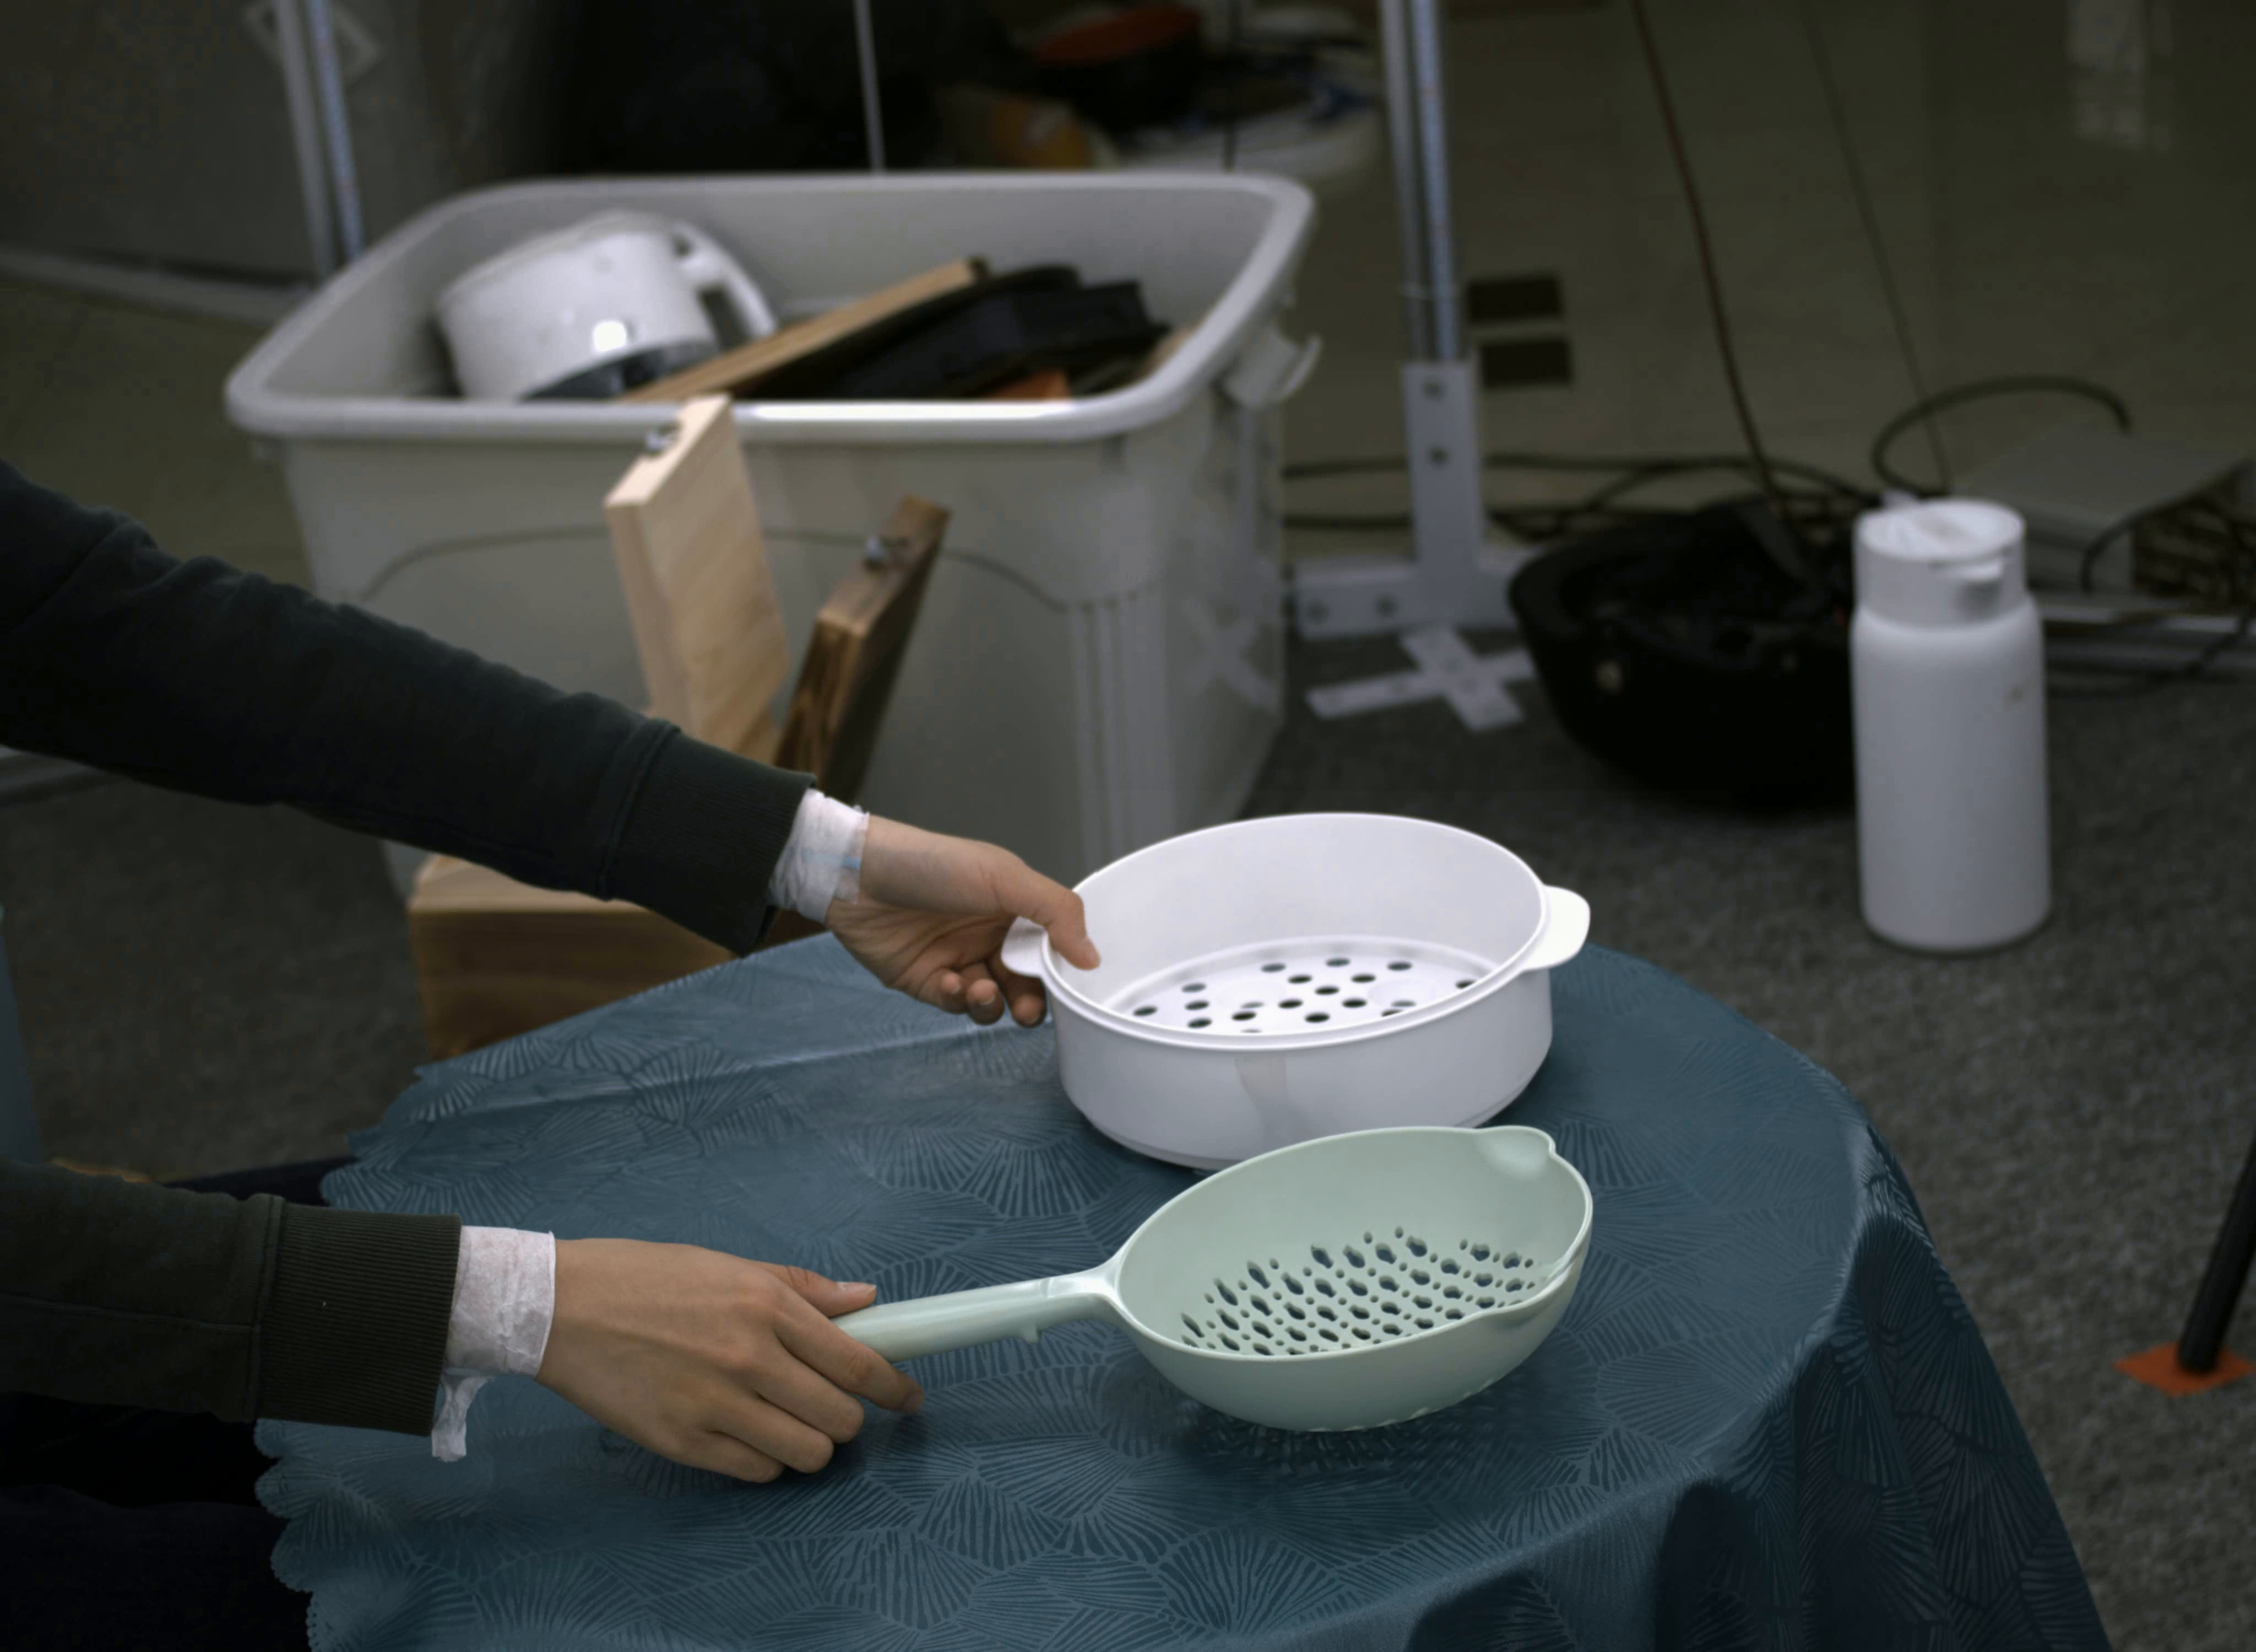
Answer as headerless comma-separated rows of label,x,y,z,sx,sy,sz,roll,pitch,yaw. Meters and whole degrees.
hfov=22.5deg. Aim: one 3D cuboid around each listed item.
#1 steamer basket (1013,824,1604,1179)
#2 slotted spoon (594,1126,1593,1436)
steamer basket,0.072,0.069,2.210,0.230,0.070,0.199,-2,24,11
slotted spoon,-0.015,0.172,2.000,0.358,0.076,0.167,-2,23,4
